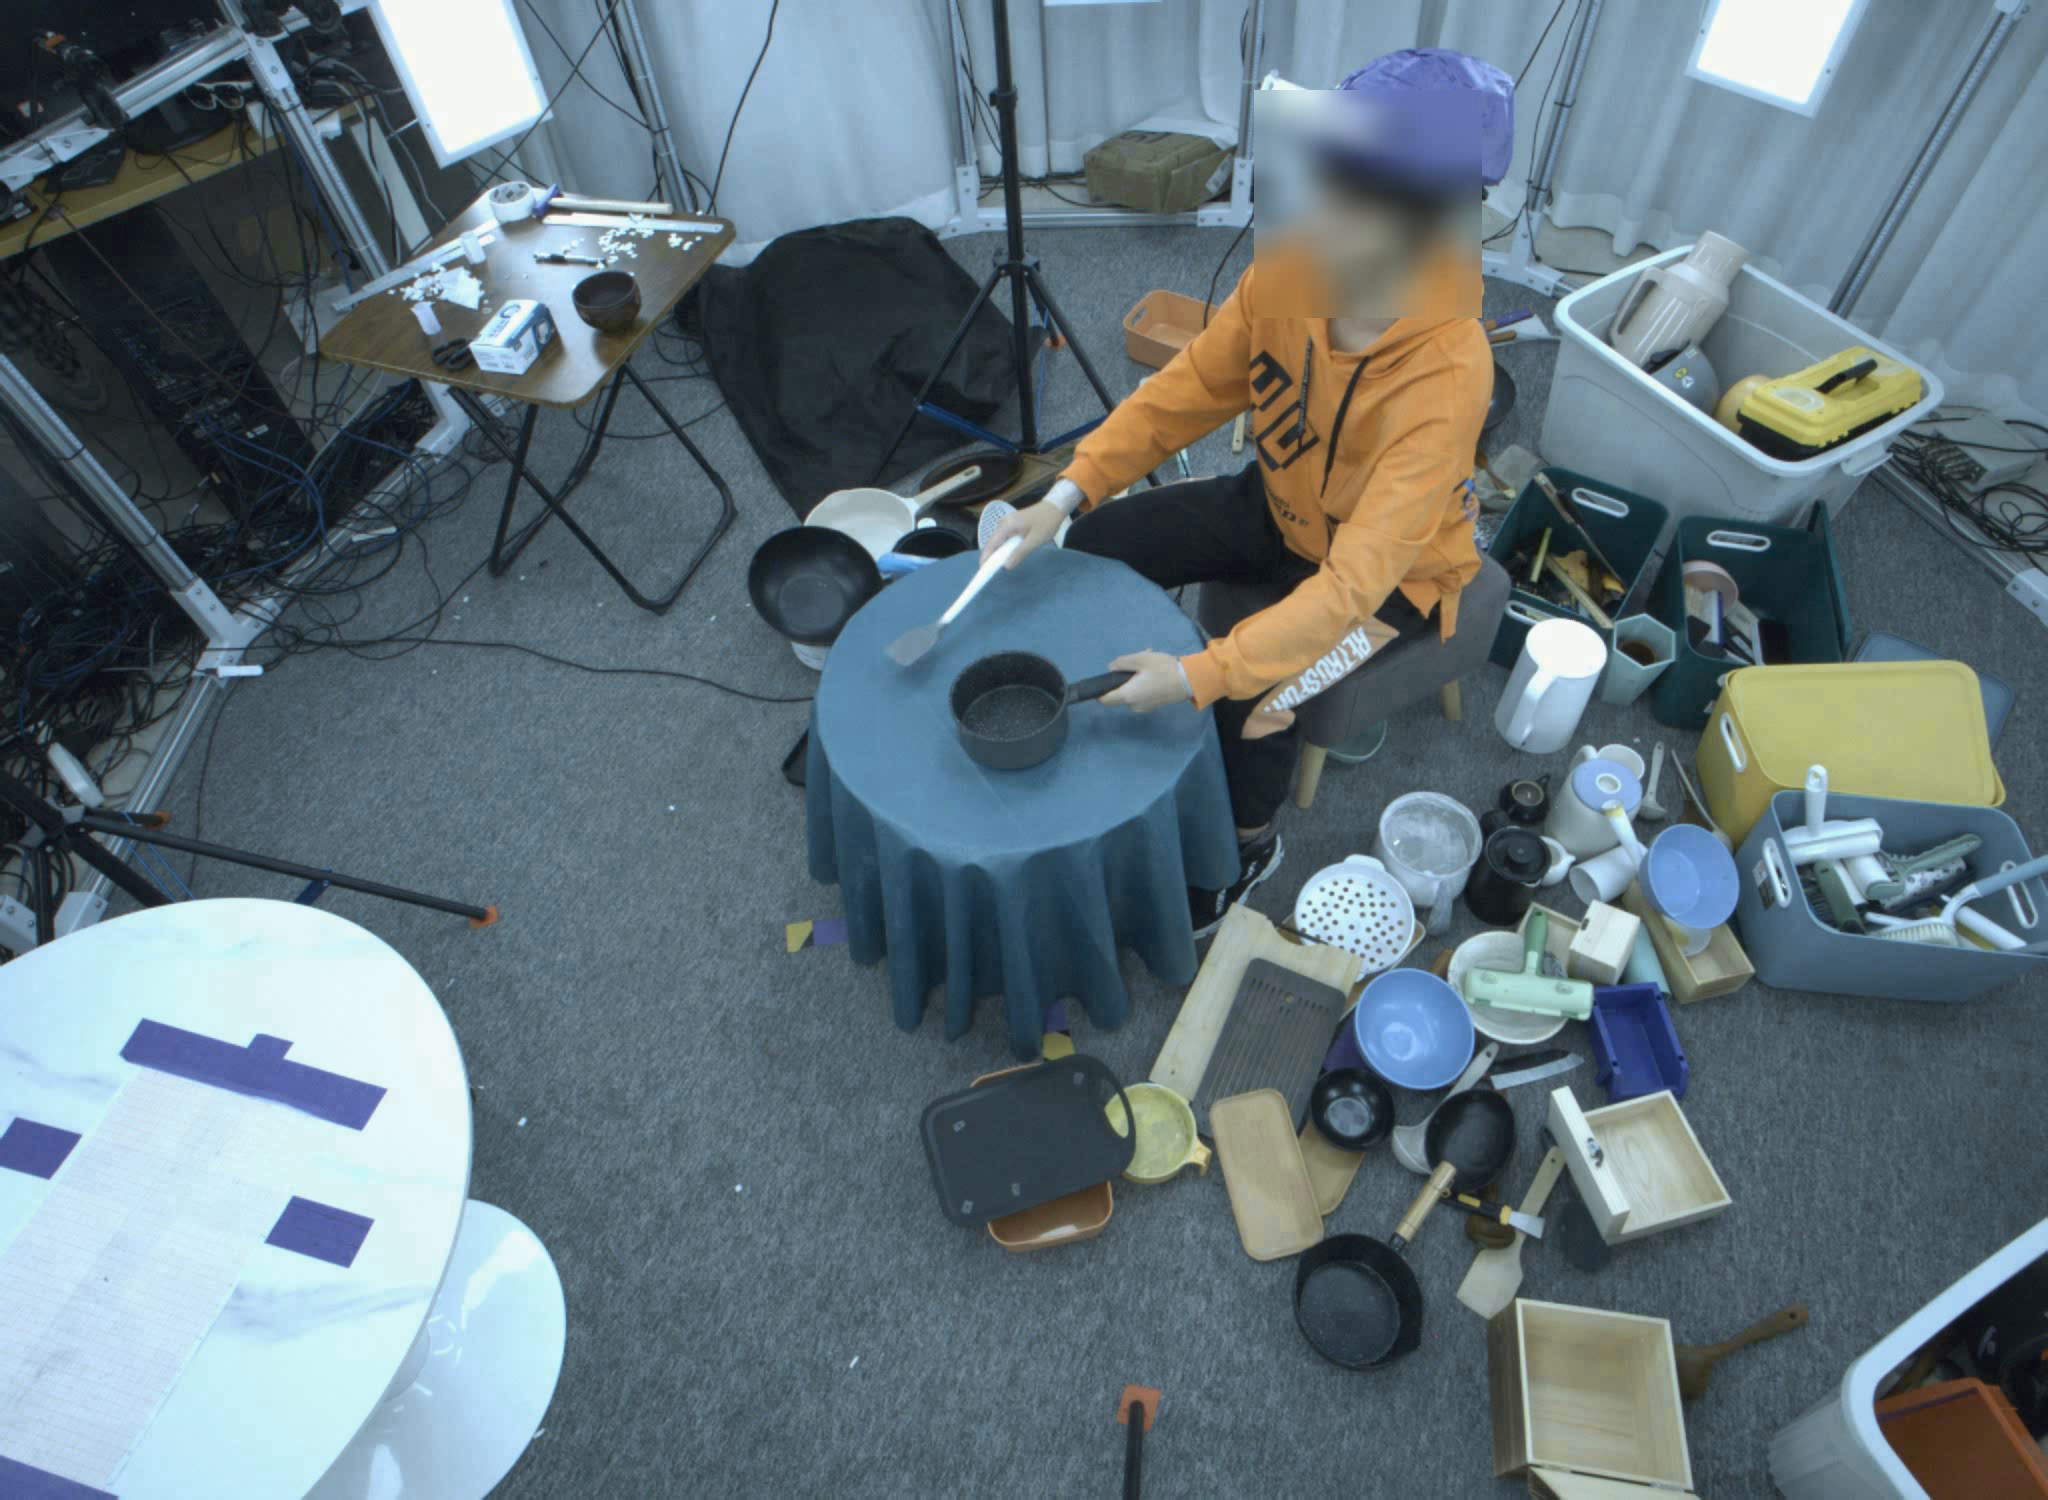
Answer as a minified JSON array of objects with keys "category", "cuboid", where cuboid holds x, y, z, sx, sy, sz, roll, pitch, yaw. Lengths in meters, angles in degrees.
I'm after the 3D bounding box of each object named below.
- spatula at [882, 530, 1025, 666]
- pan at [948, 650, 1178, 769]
[{"category":"spatula","cuboid":[-0.103,-0.231,1.875,0.058,0.032,0.288,37,72,19]},{"category":"pan","cuboid":[0.059,-0.071,1.775,0.329,0.087,0.169,-9,53,1]}]
